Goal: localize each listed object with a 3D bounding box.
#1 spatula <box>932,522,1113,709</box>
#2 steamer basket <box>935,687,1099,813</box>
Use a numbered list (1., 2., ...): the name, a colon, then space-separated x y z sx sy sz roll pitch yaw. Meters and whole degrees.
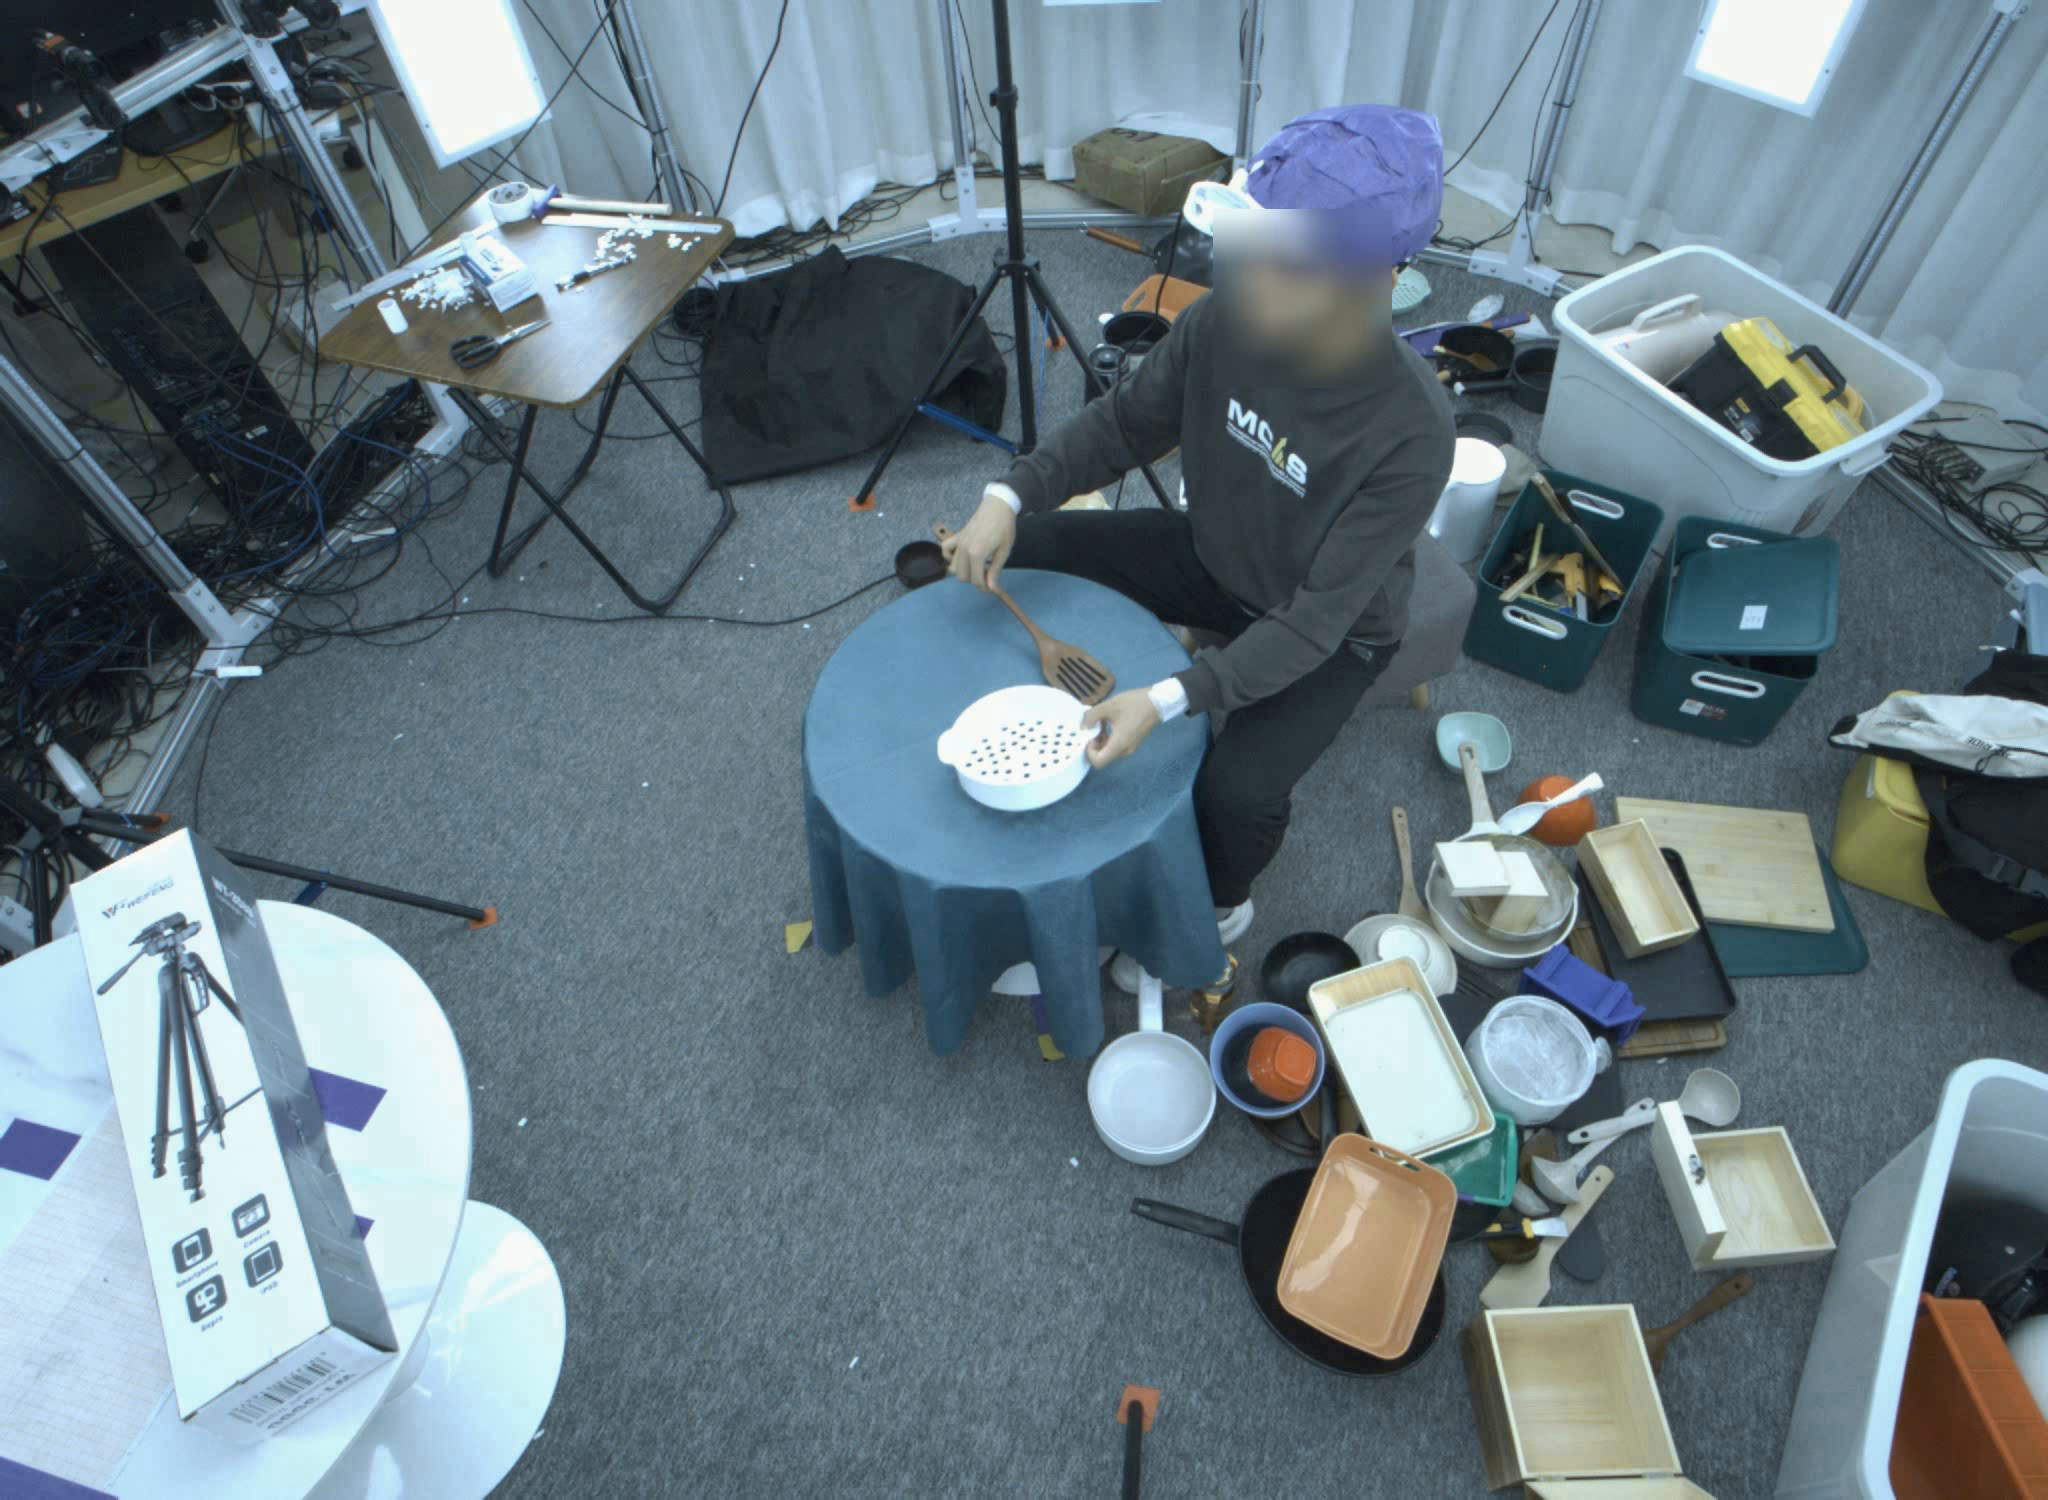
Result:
1. spatula: -0.017 -0.215 1.887 0.086 0.024 0.382 -39 80 -19
2. steamer basket: -0.007 0.001 1.739 0.231 0.070 0.199 -7 45 0
